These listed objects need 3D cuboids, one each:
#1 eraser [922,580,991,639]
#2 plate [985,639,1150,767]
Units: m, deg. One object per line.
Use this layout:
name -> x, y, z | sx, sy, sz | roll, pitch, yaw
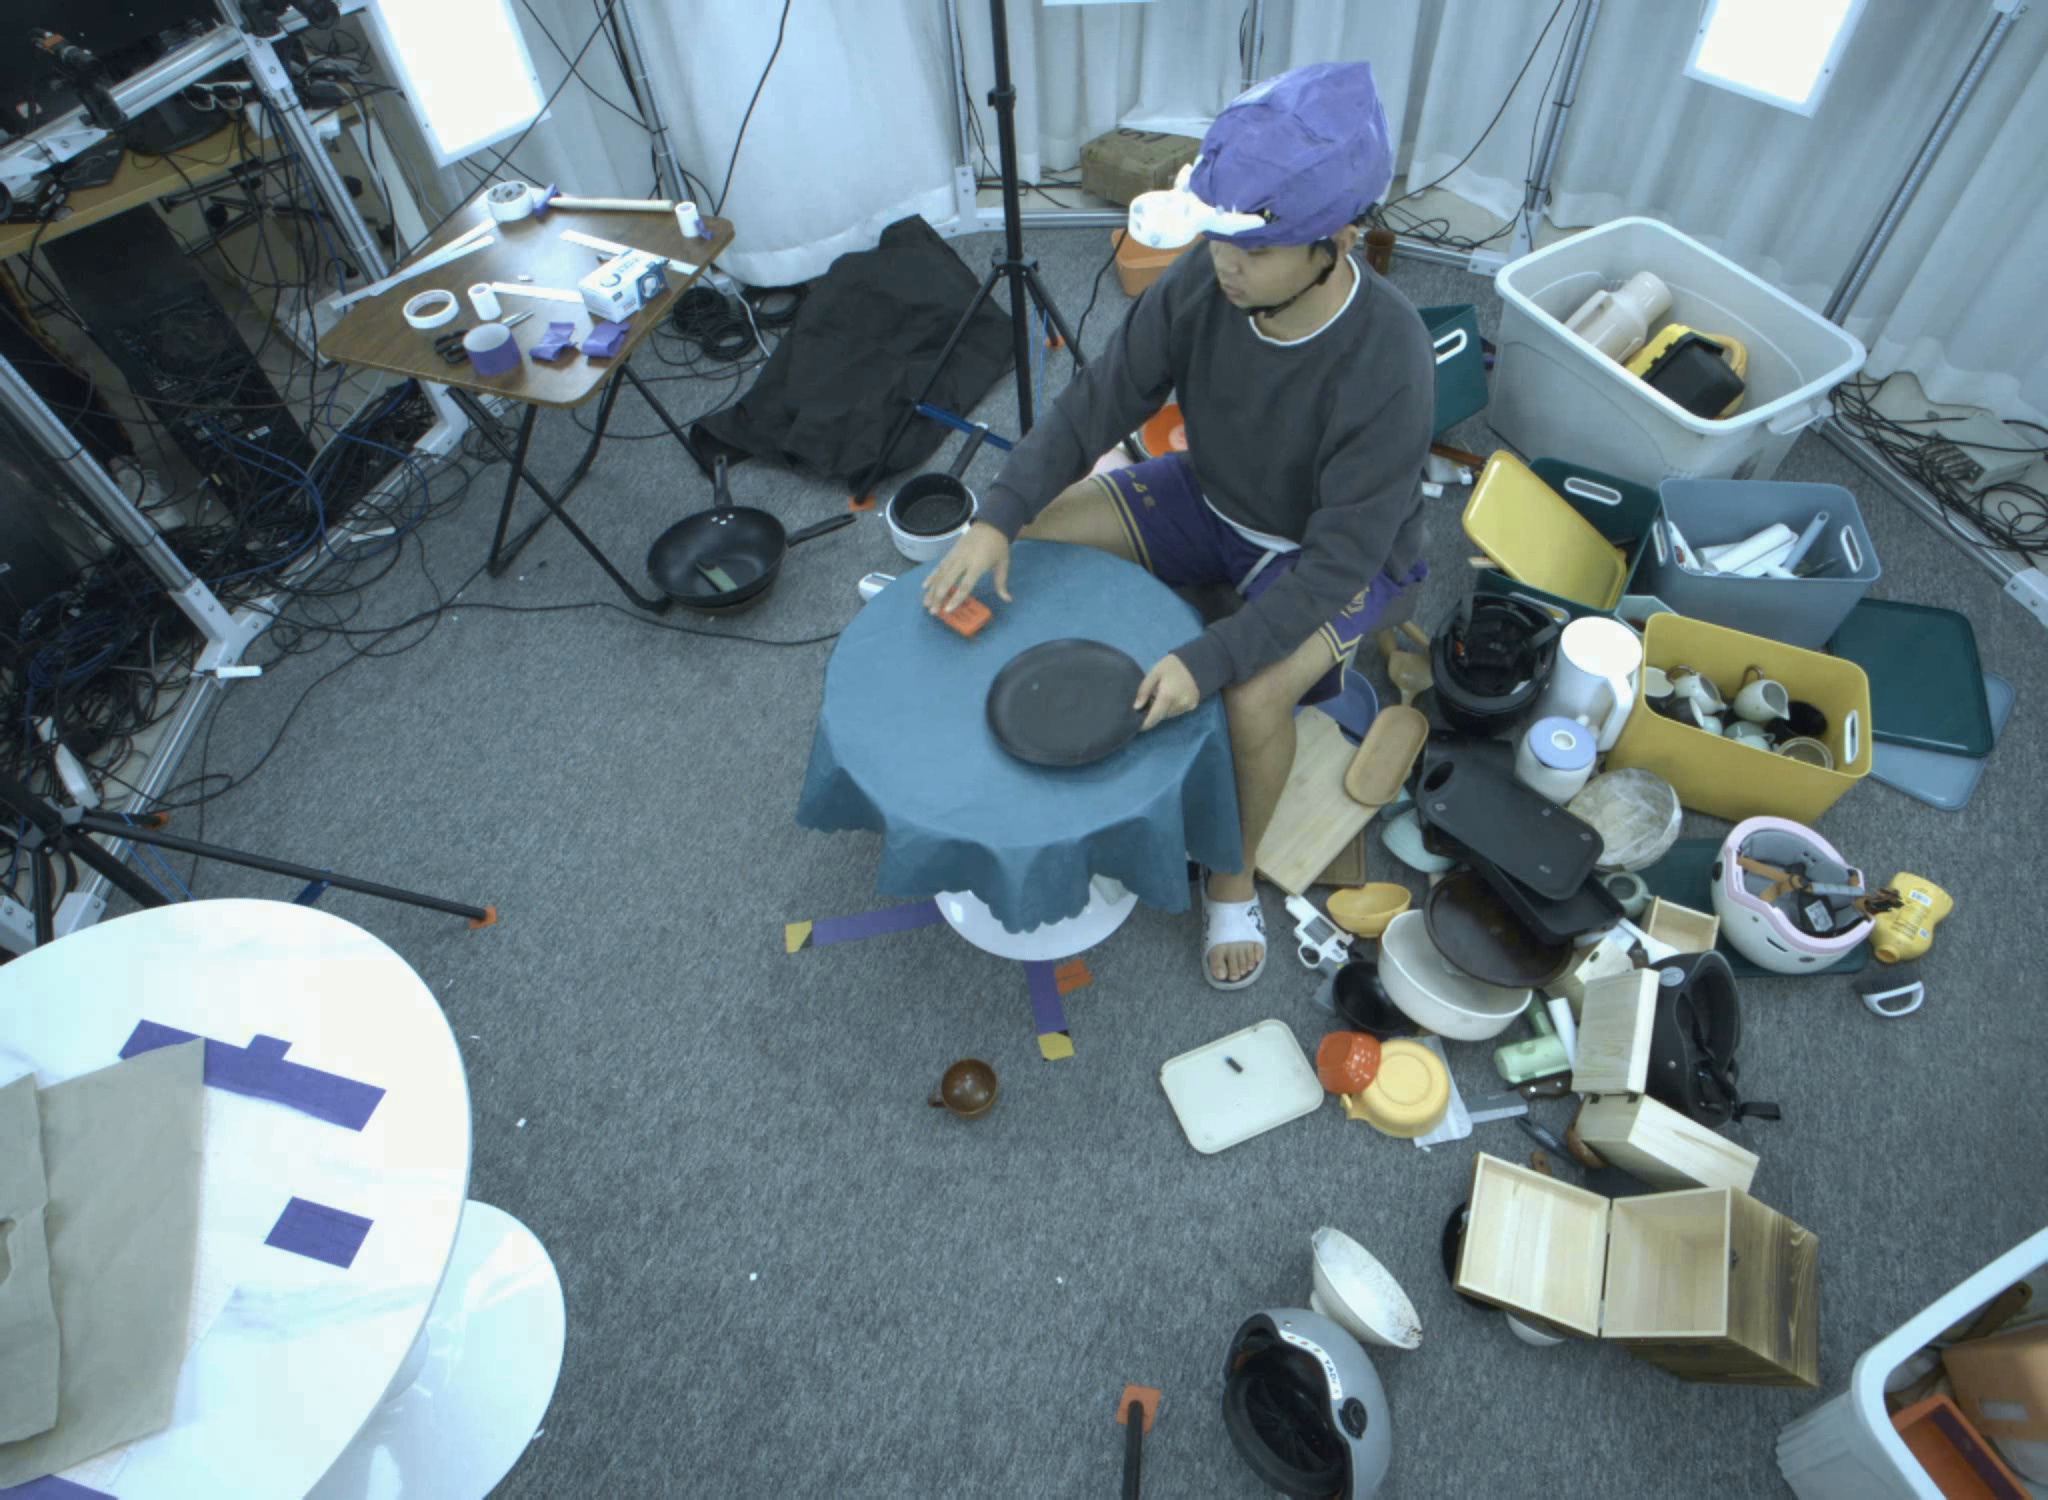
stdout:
eraser -> -0.106, -0.223, 1.934 | 0.106, 0.023, 0.059 | 38, 65, 23
plate -> 0.065, -0.068, 1.814 | 0.243, 0.024, 0.242 | -3, 53, 5
